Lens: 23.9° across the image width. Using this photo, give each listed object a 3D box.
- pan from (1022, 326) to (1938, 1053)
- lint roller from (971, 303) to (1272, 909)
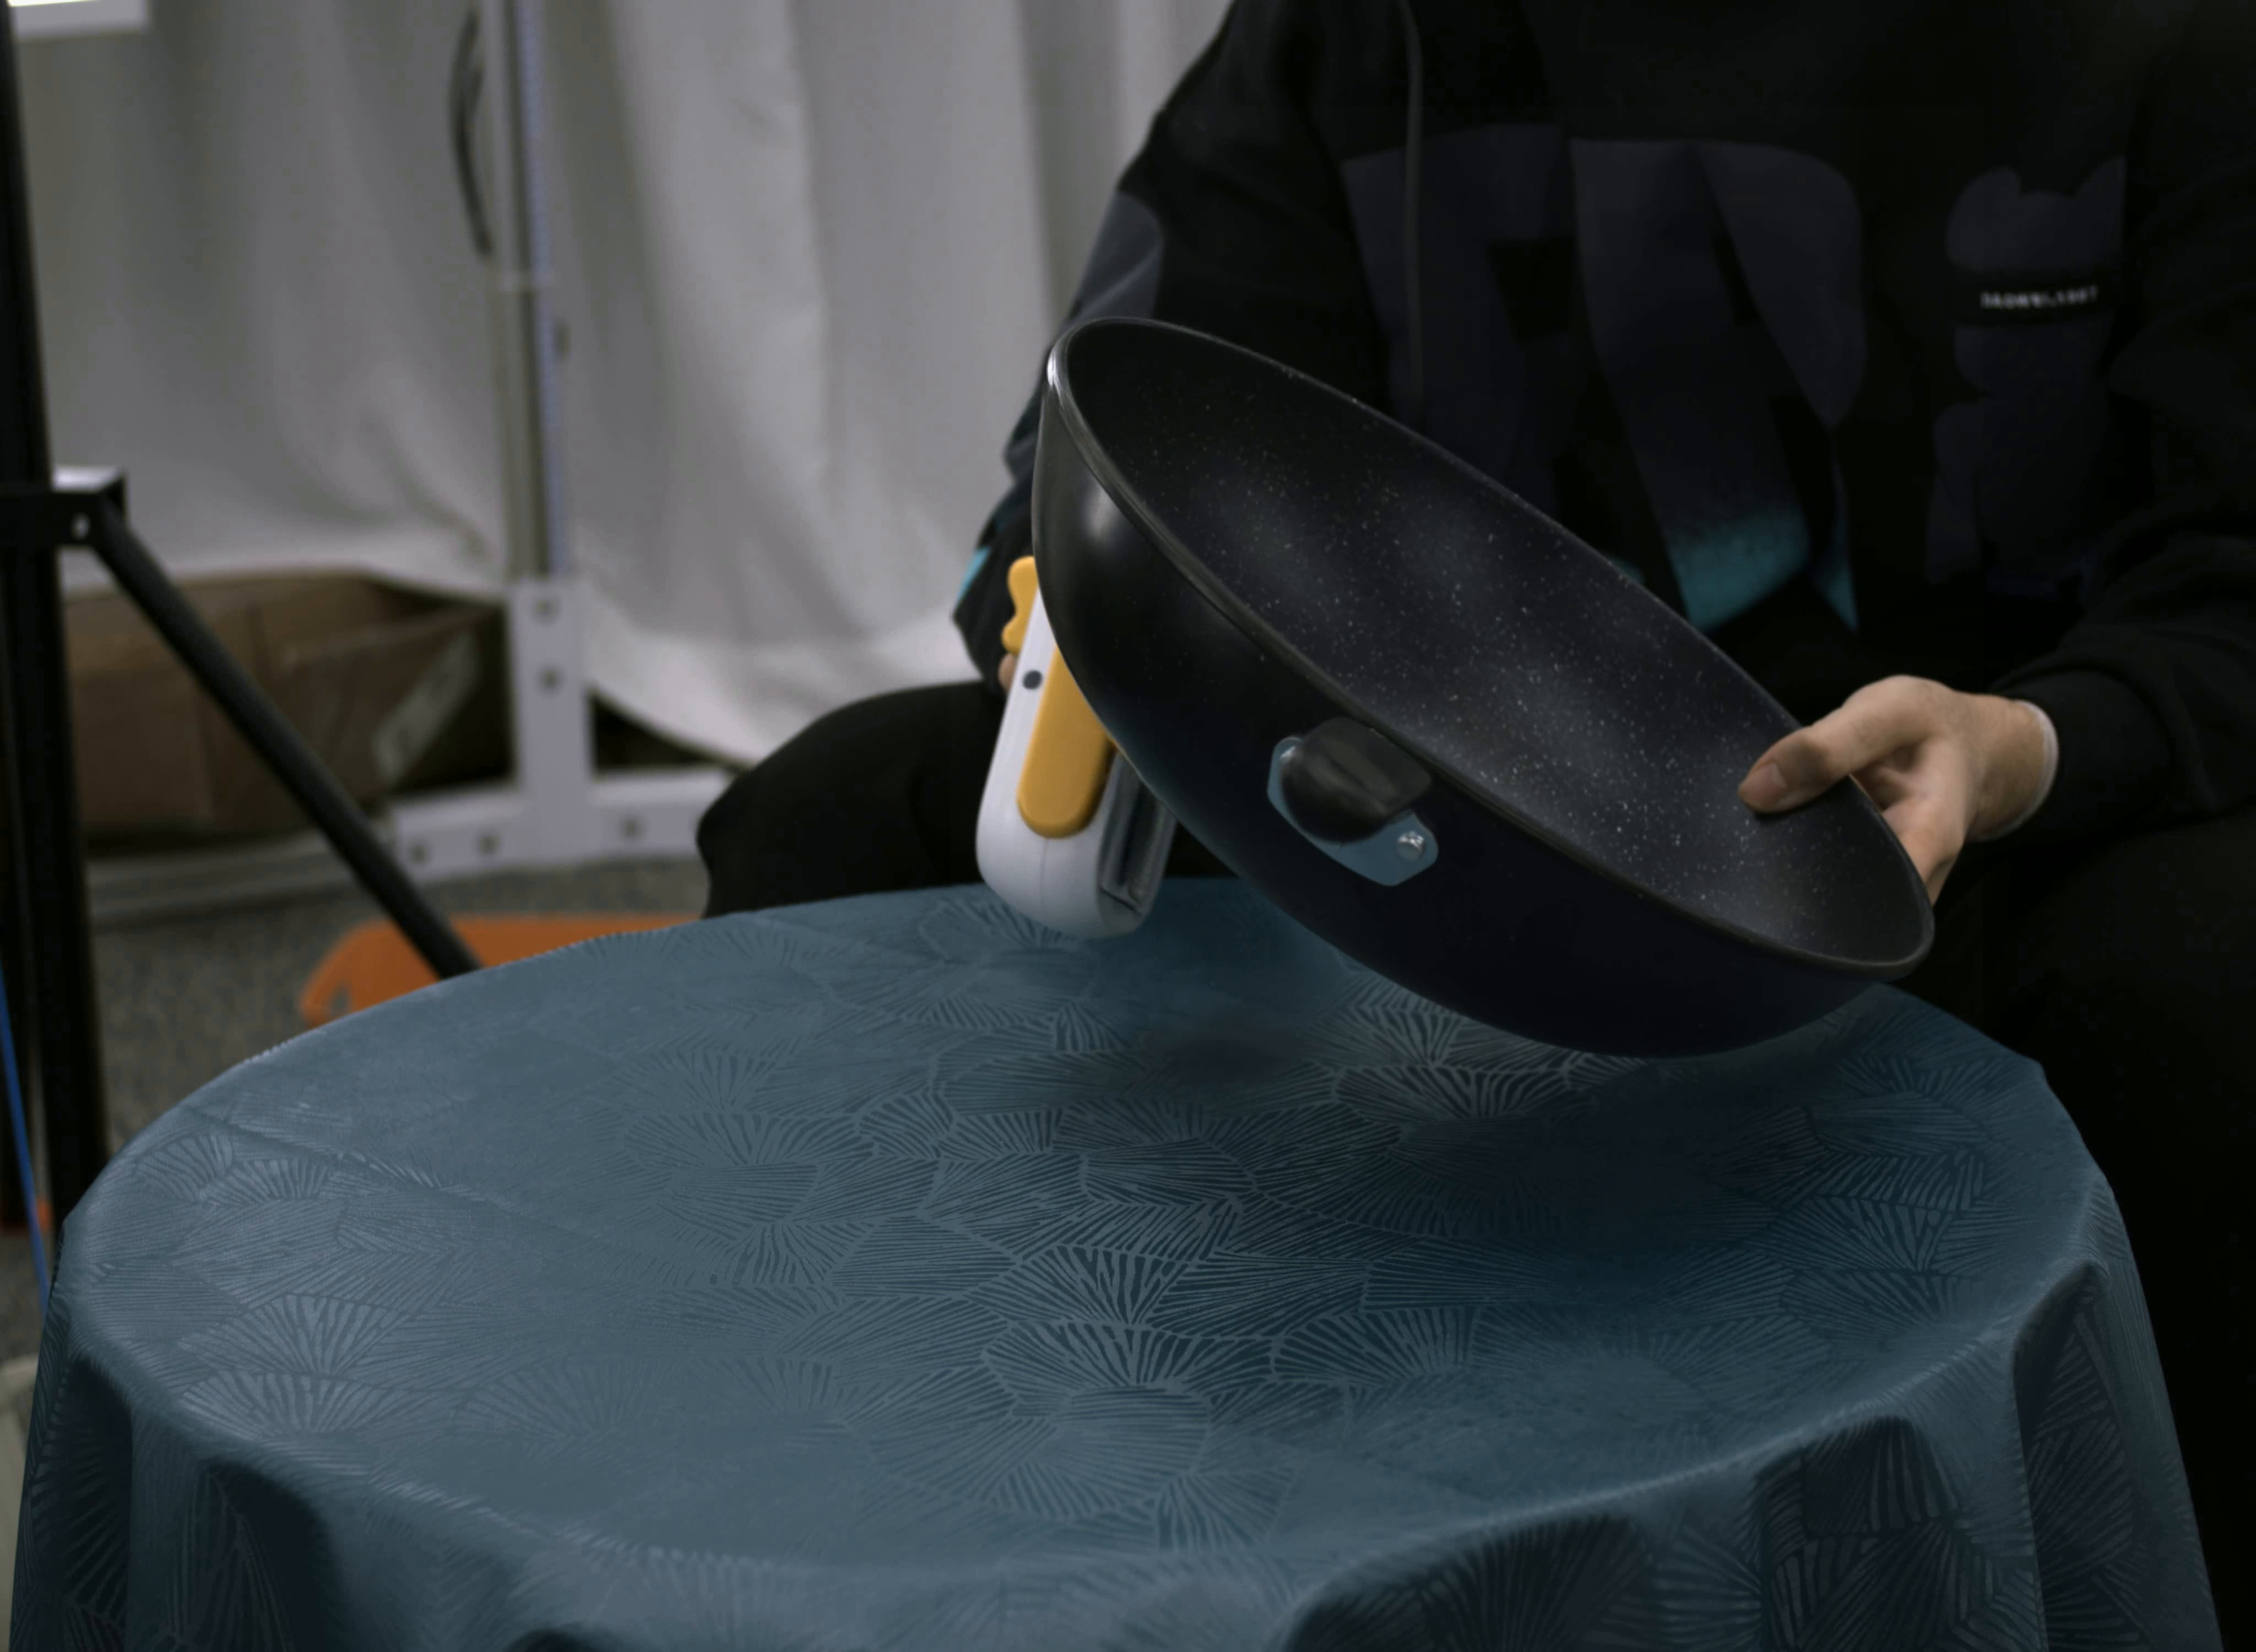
[{"bbox_3d":[0.073,-0.016,1.476,0.311,0.112,0.473,34,18,5],"label":"pan"},{"bbox_3d":[0.002,-0.056,1.728,0.074,0.194,0.190,8,-13,12],"label":"lint roller"}]
